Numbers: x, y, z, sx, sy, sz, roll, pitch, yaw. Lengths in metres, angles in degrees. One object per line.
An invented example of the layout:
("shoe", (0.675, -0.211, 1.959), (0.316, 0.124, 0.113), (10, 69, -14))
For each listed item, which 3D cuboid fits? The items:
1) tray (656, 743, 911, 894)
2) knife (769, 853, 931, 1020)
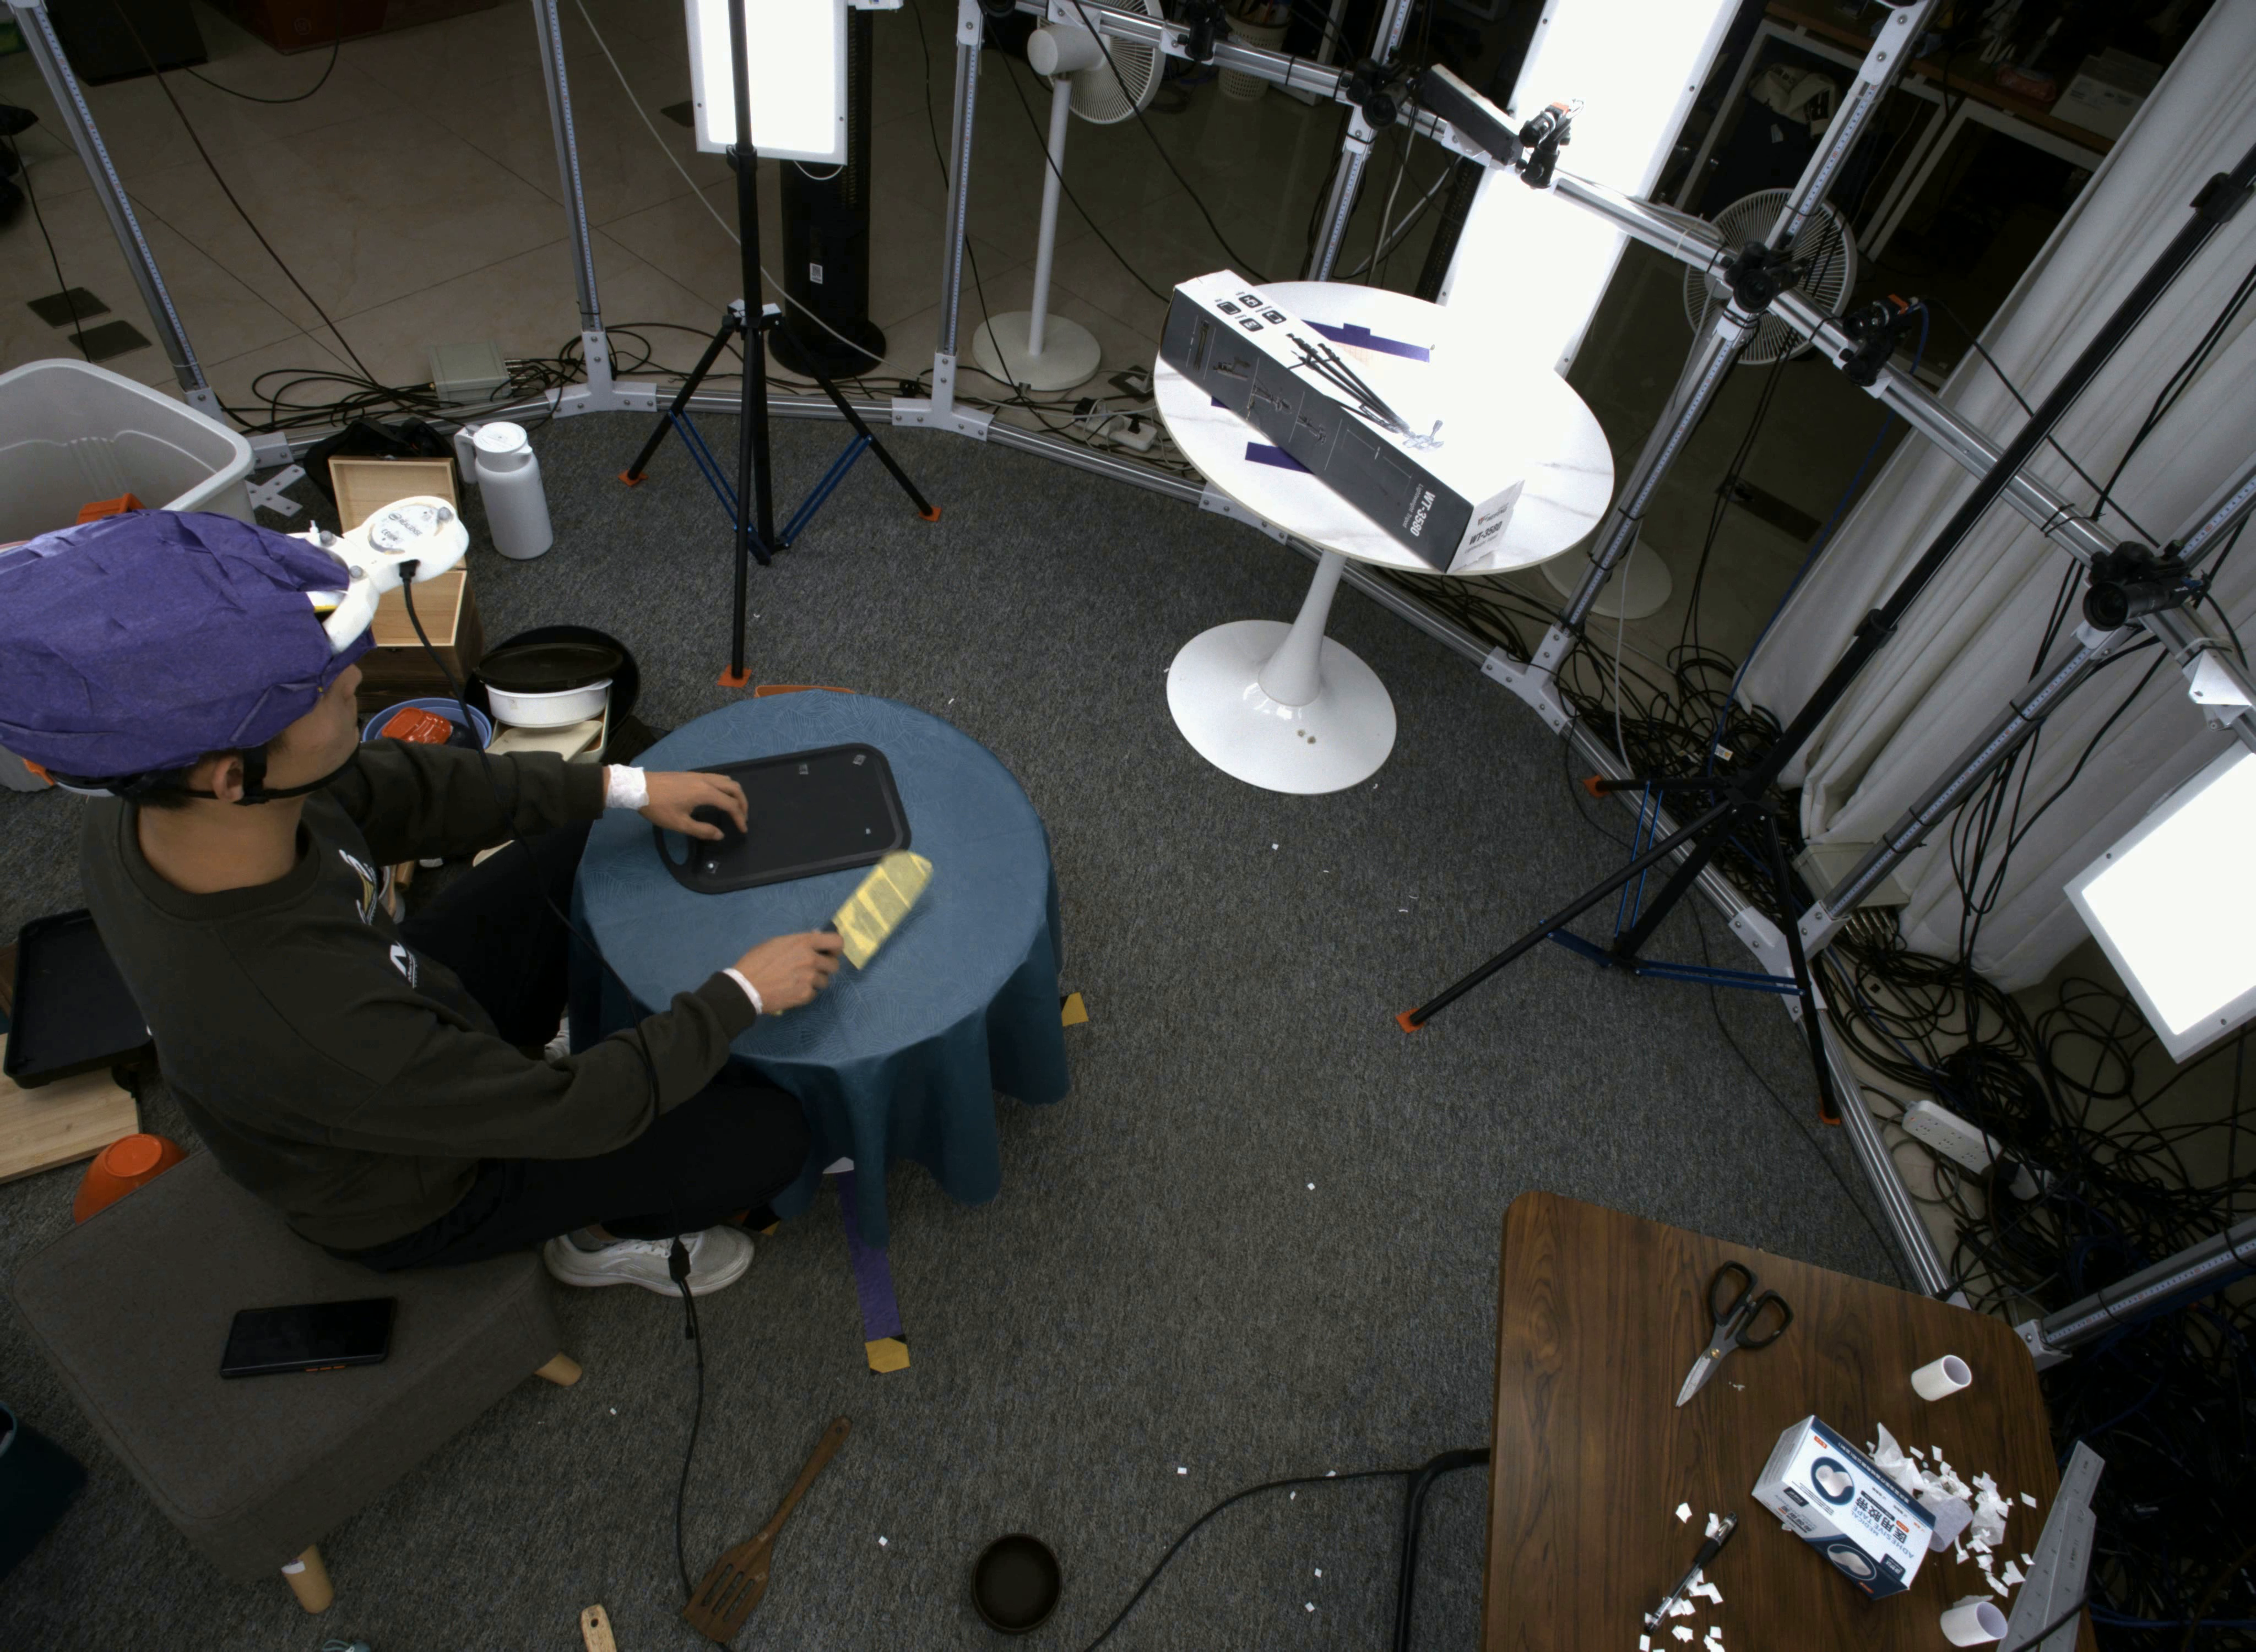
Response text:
("tray", (-0.463, -0.015, 1.731), (0.327, 0.010, 0.206), (-11, 58, -21))
("knife", (-0.336, 0.136, 1.602), (0.026, 0.084, 0.289), (0, 40, 46))
